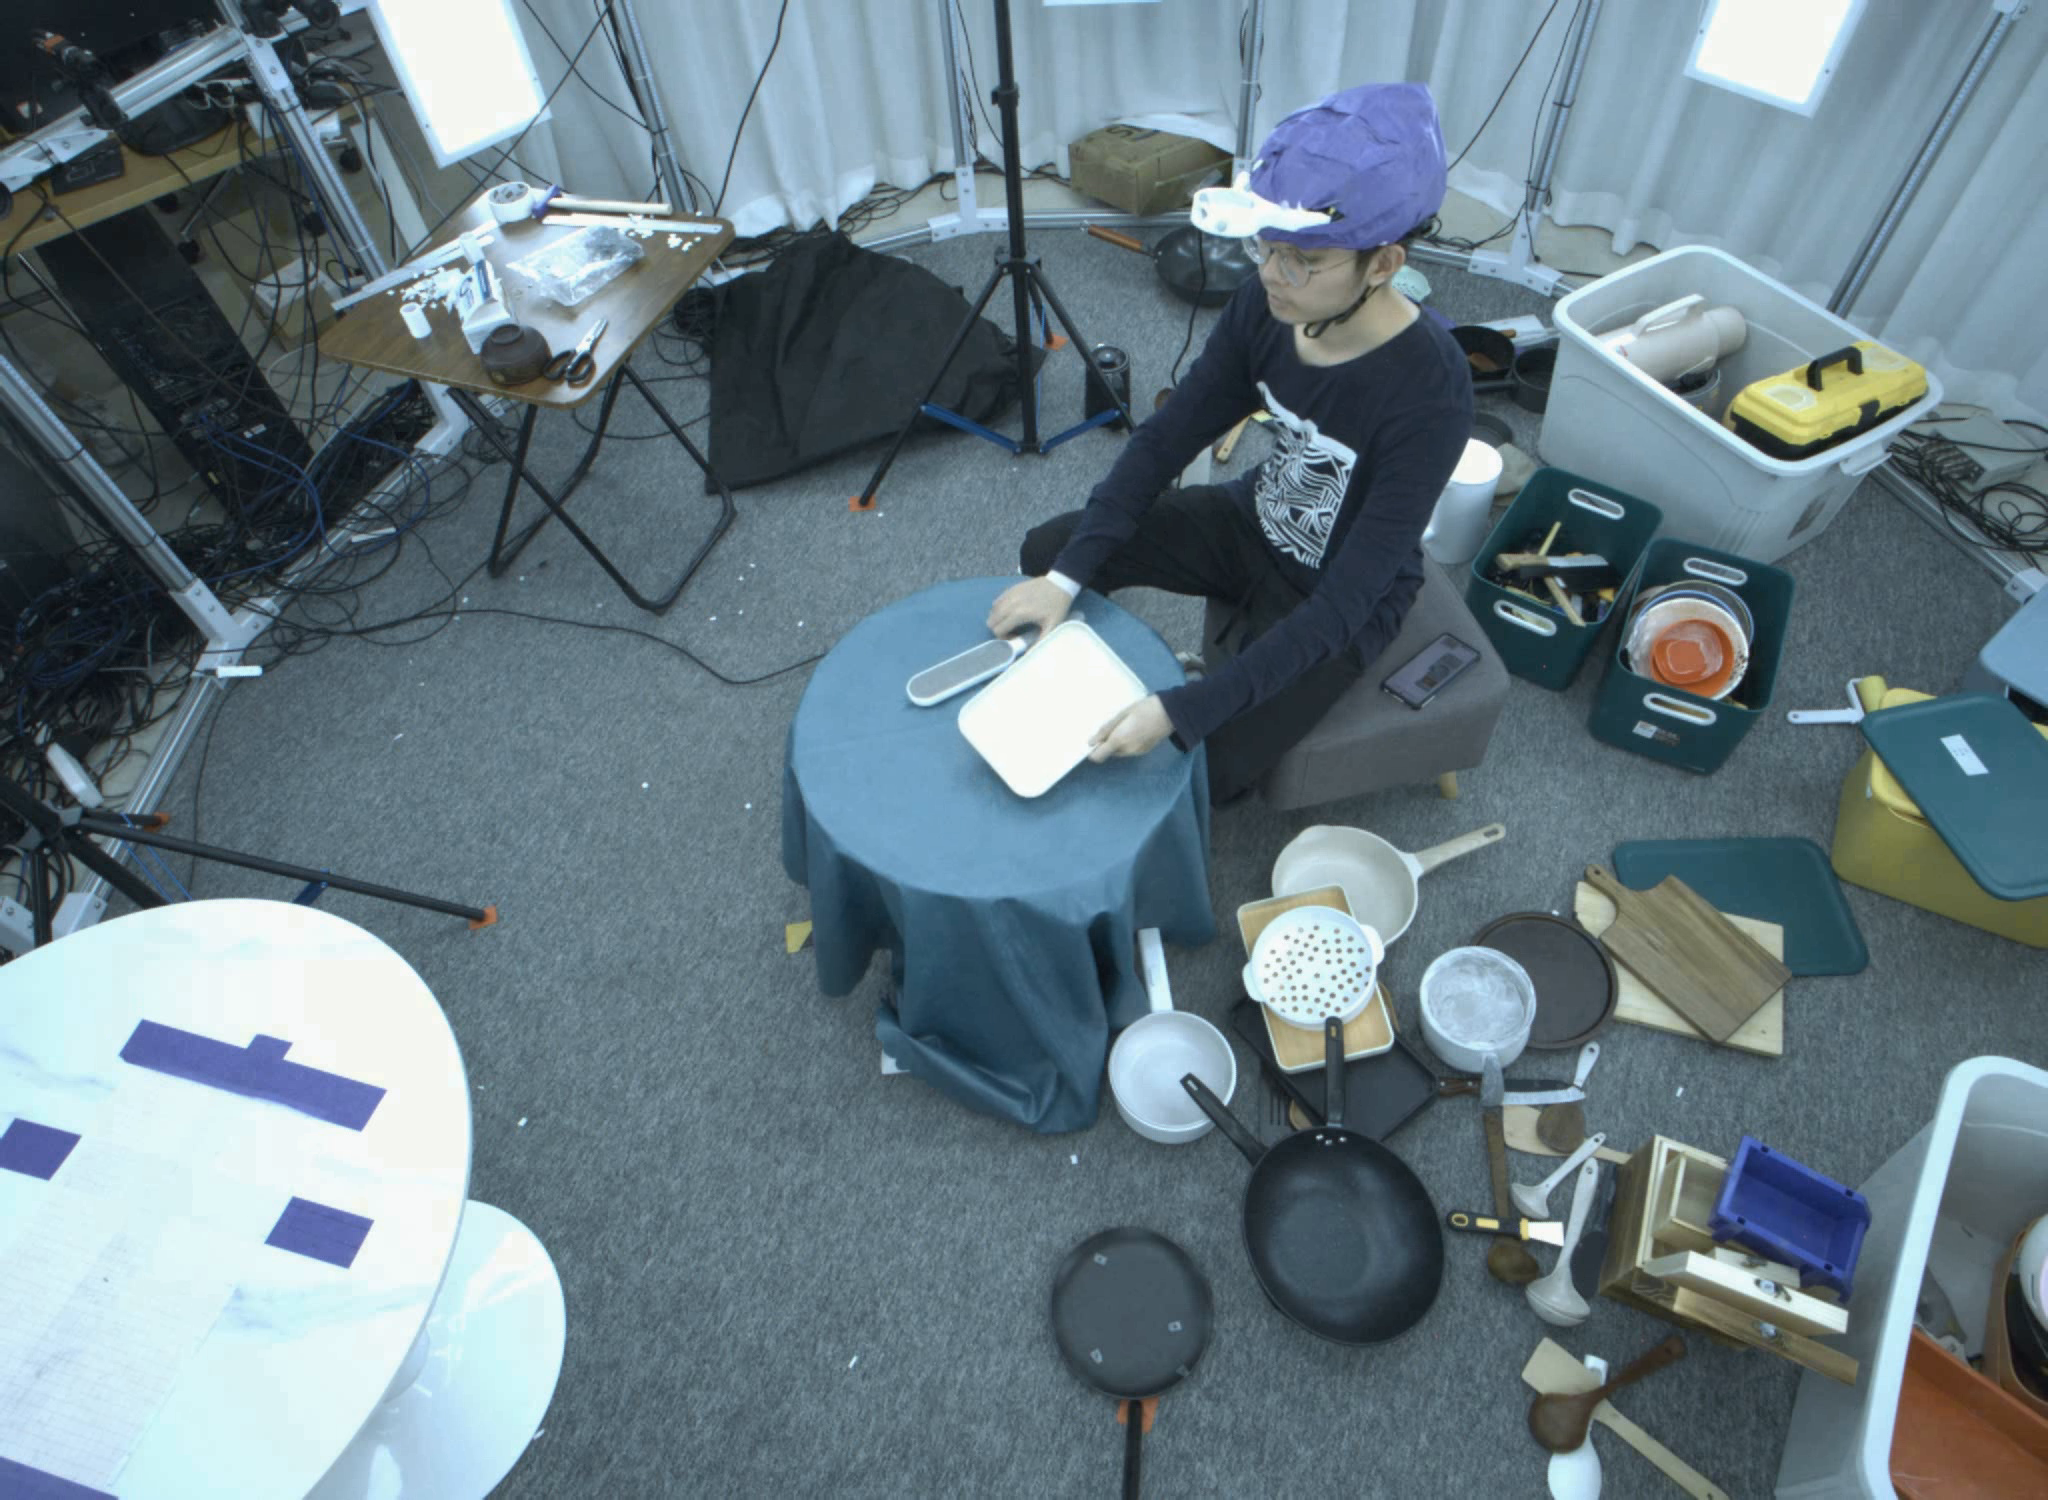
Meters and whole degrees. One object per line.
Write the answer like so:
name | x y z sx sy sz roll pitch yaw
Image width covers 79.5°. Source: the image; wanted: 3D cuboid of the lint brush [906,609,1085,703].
lint brush | -0.041 -0.148 1.885 0.311 0.021 0.059 -26 52 -16

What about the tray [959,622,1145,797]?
tray | 0.040 -0.058 1.748 0.240 0.017 0.170 -41 79 -8
